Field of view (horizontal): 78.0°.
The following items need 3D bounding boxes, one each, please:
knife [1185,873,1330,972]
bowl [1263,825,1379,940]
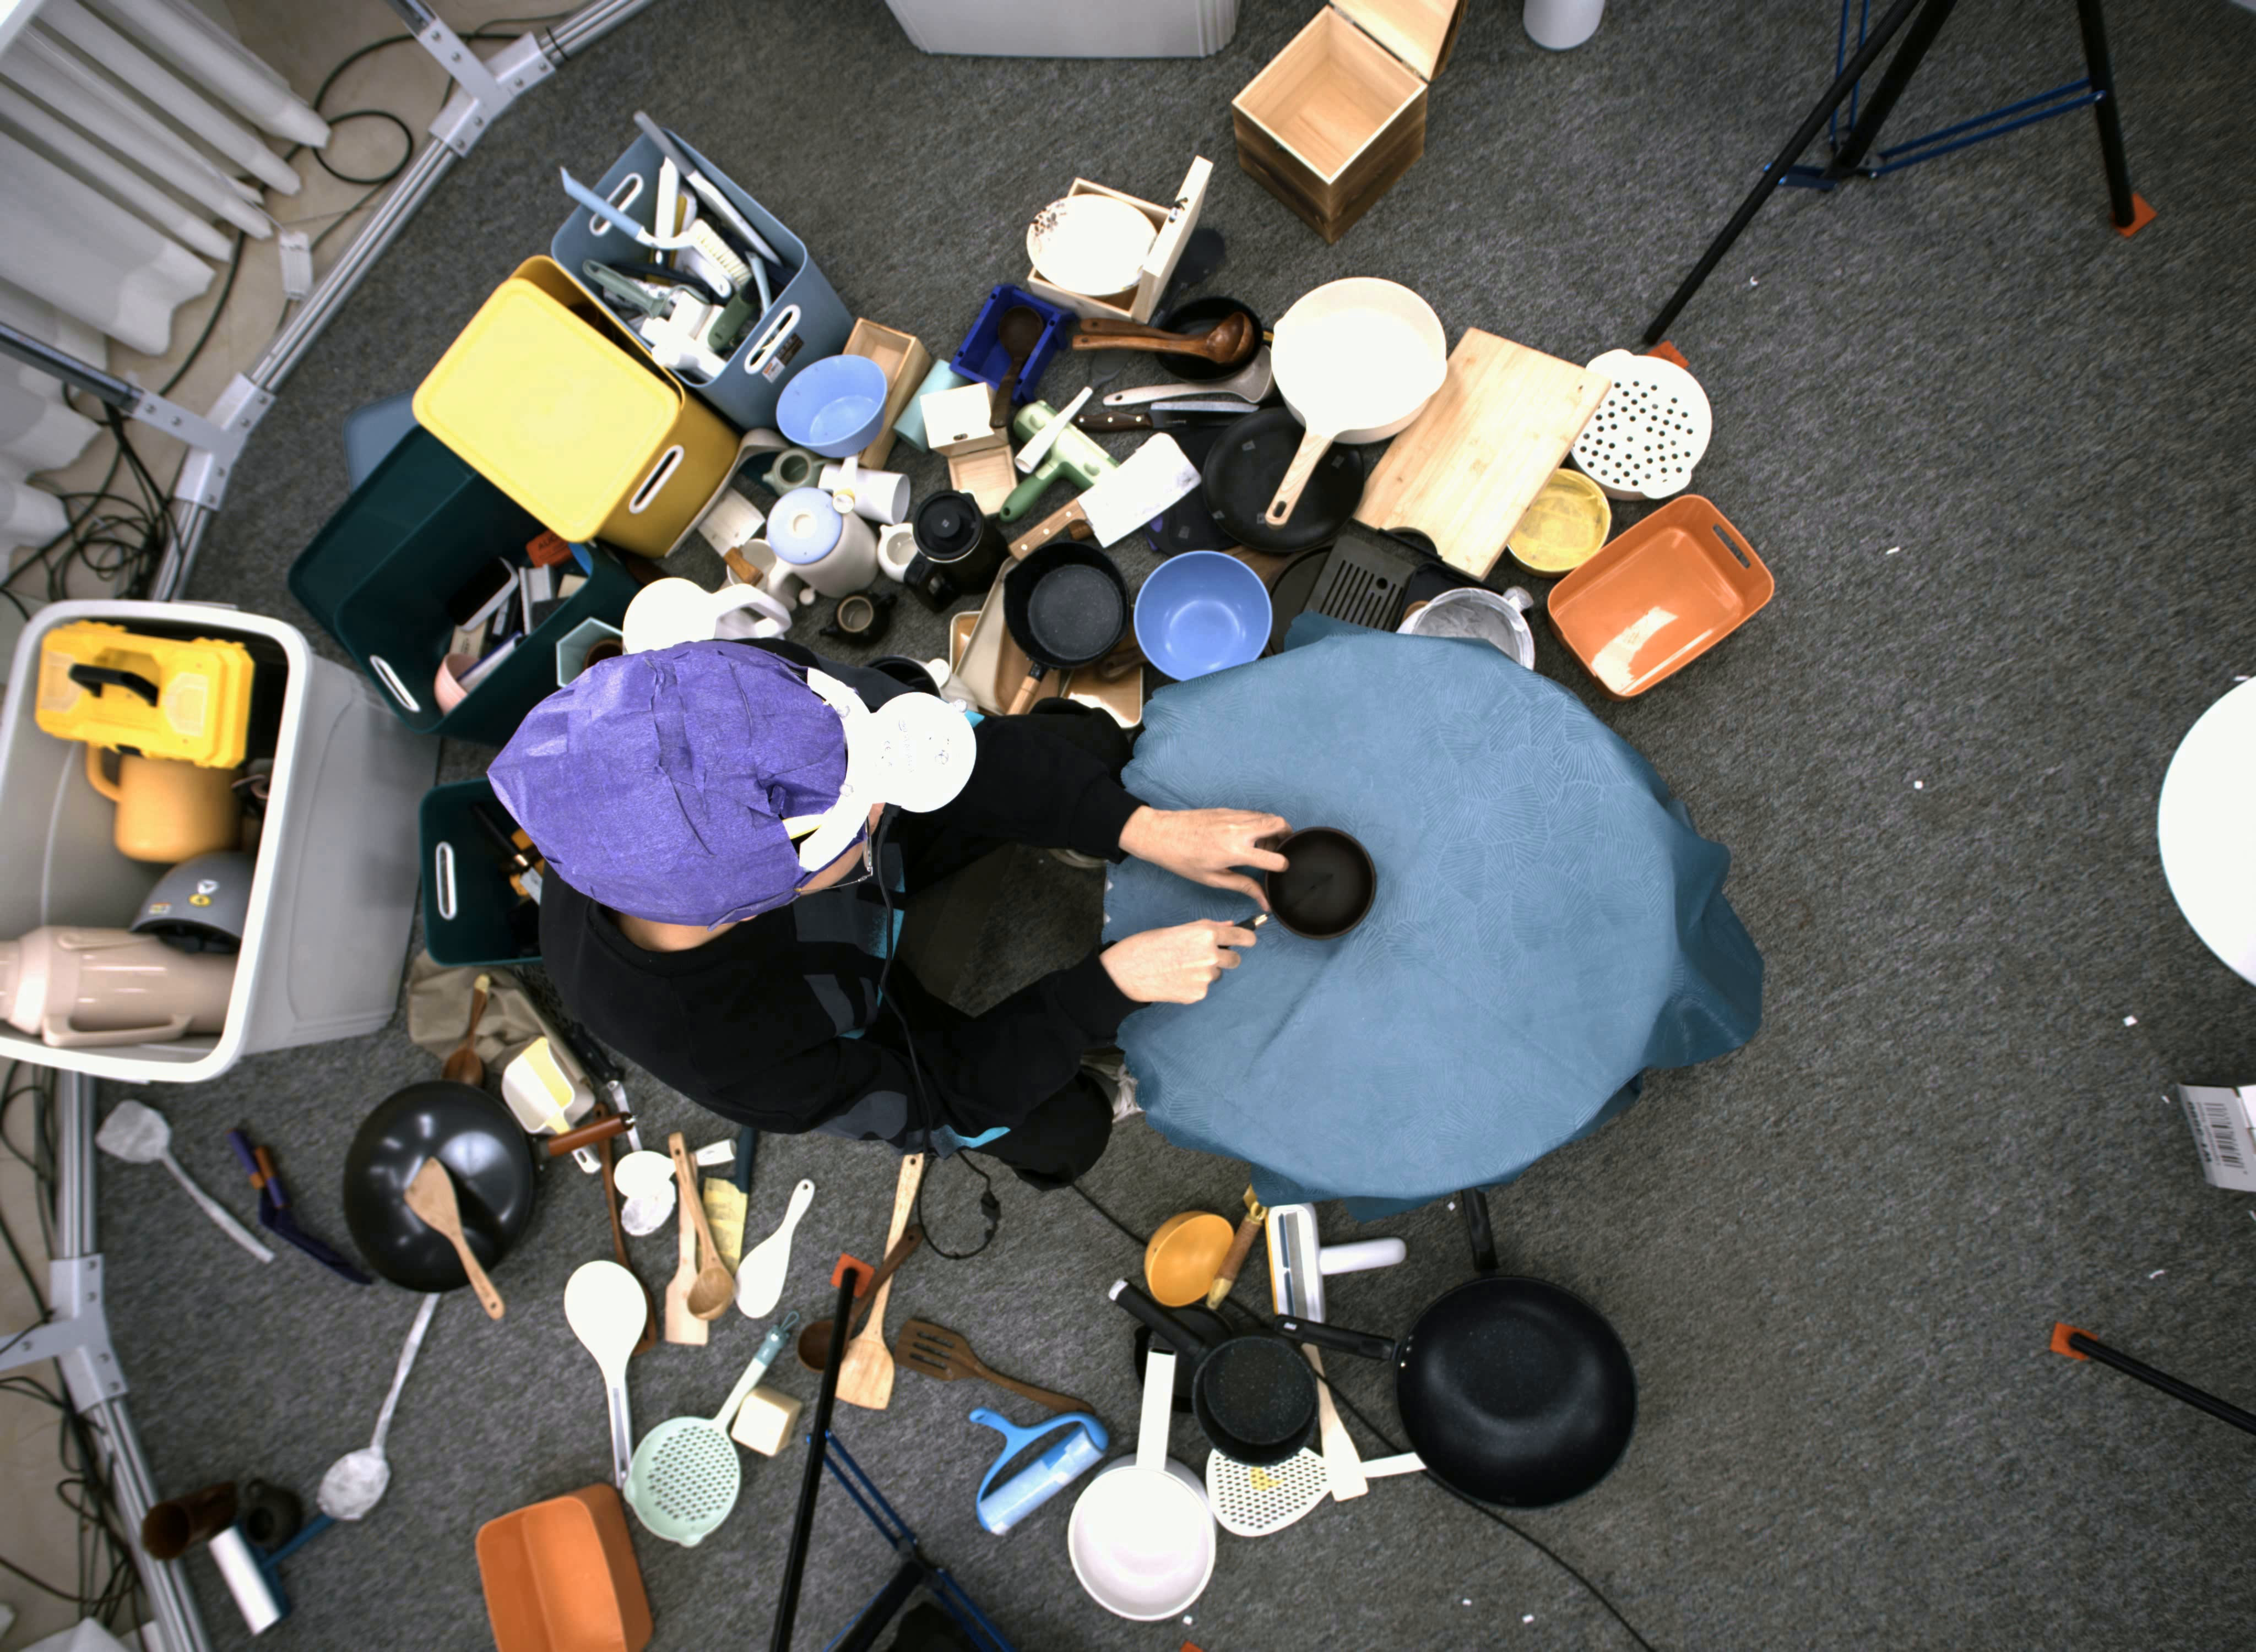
[{"bbox_3d":[0.136,0.091,1.390,0.221,0.027,0.017,-29,79,-35],"label":"knife"},{"bbox_3d":[0.201,0.058,1.434,0.118,0.070,0.117,-1,86,12],"label":"bowl"}]
